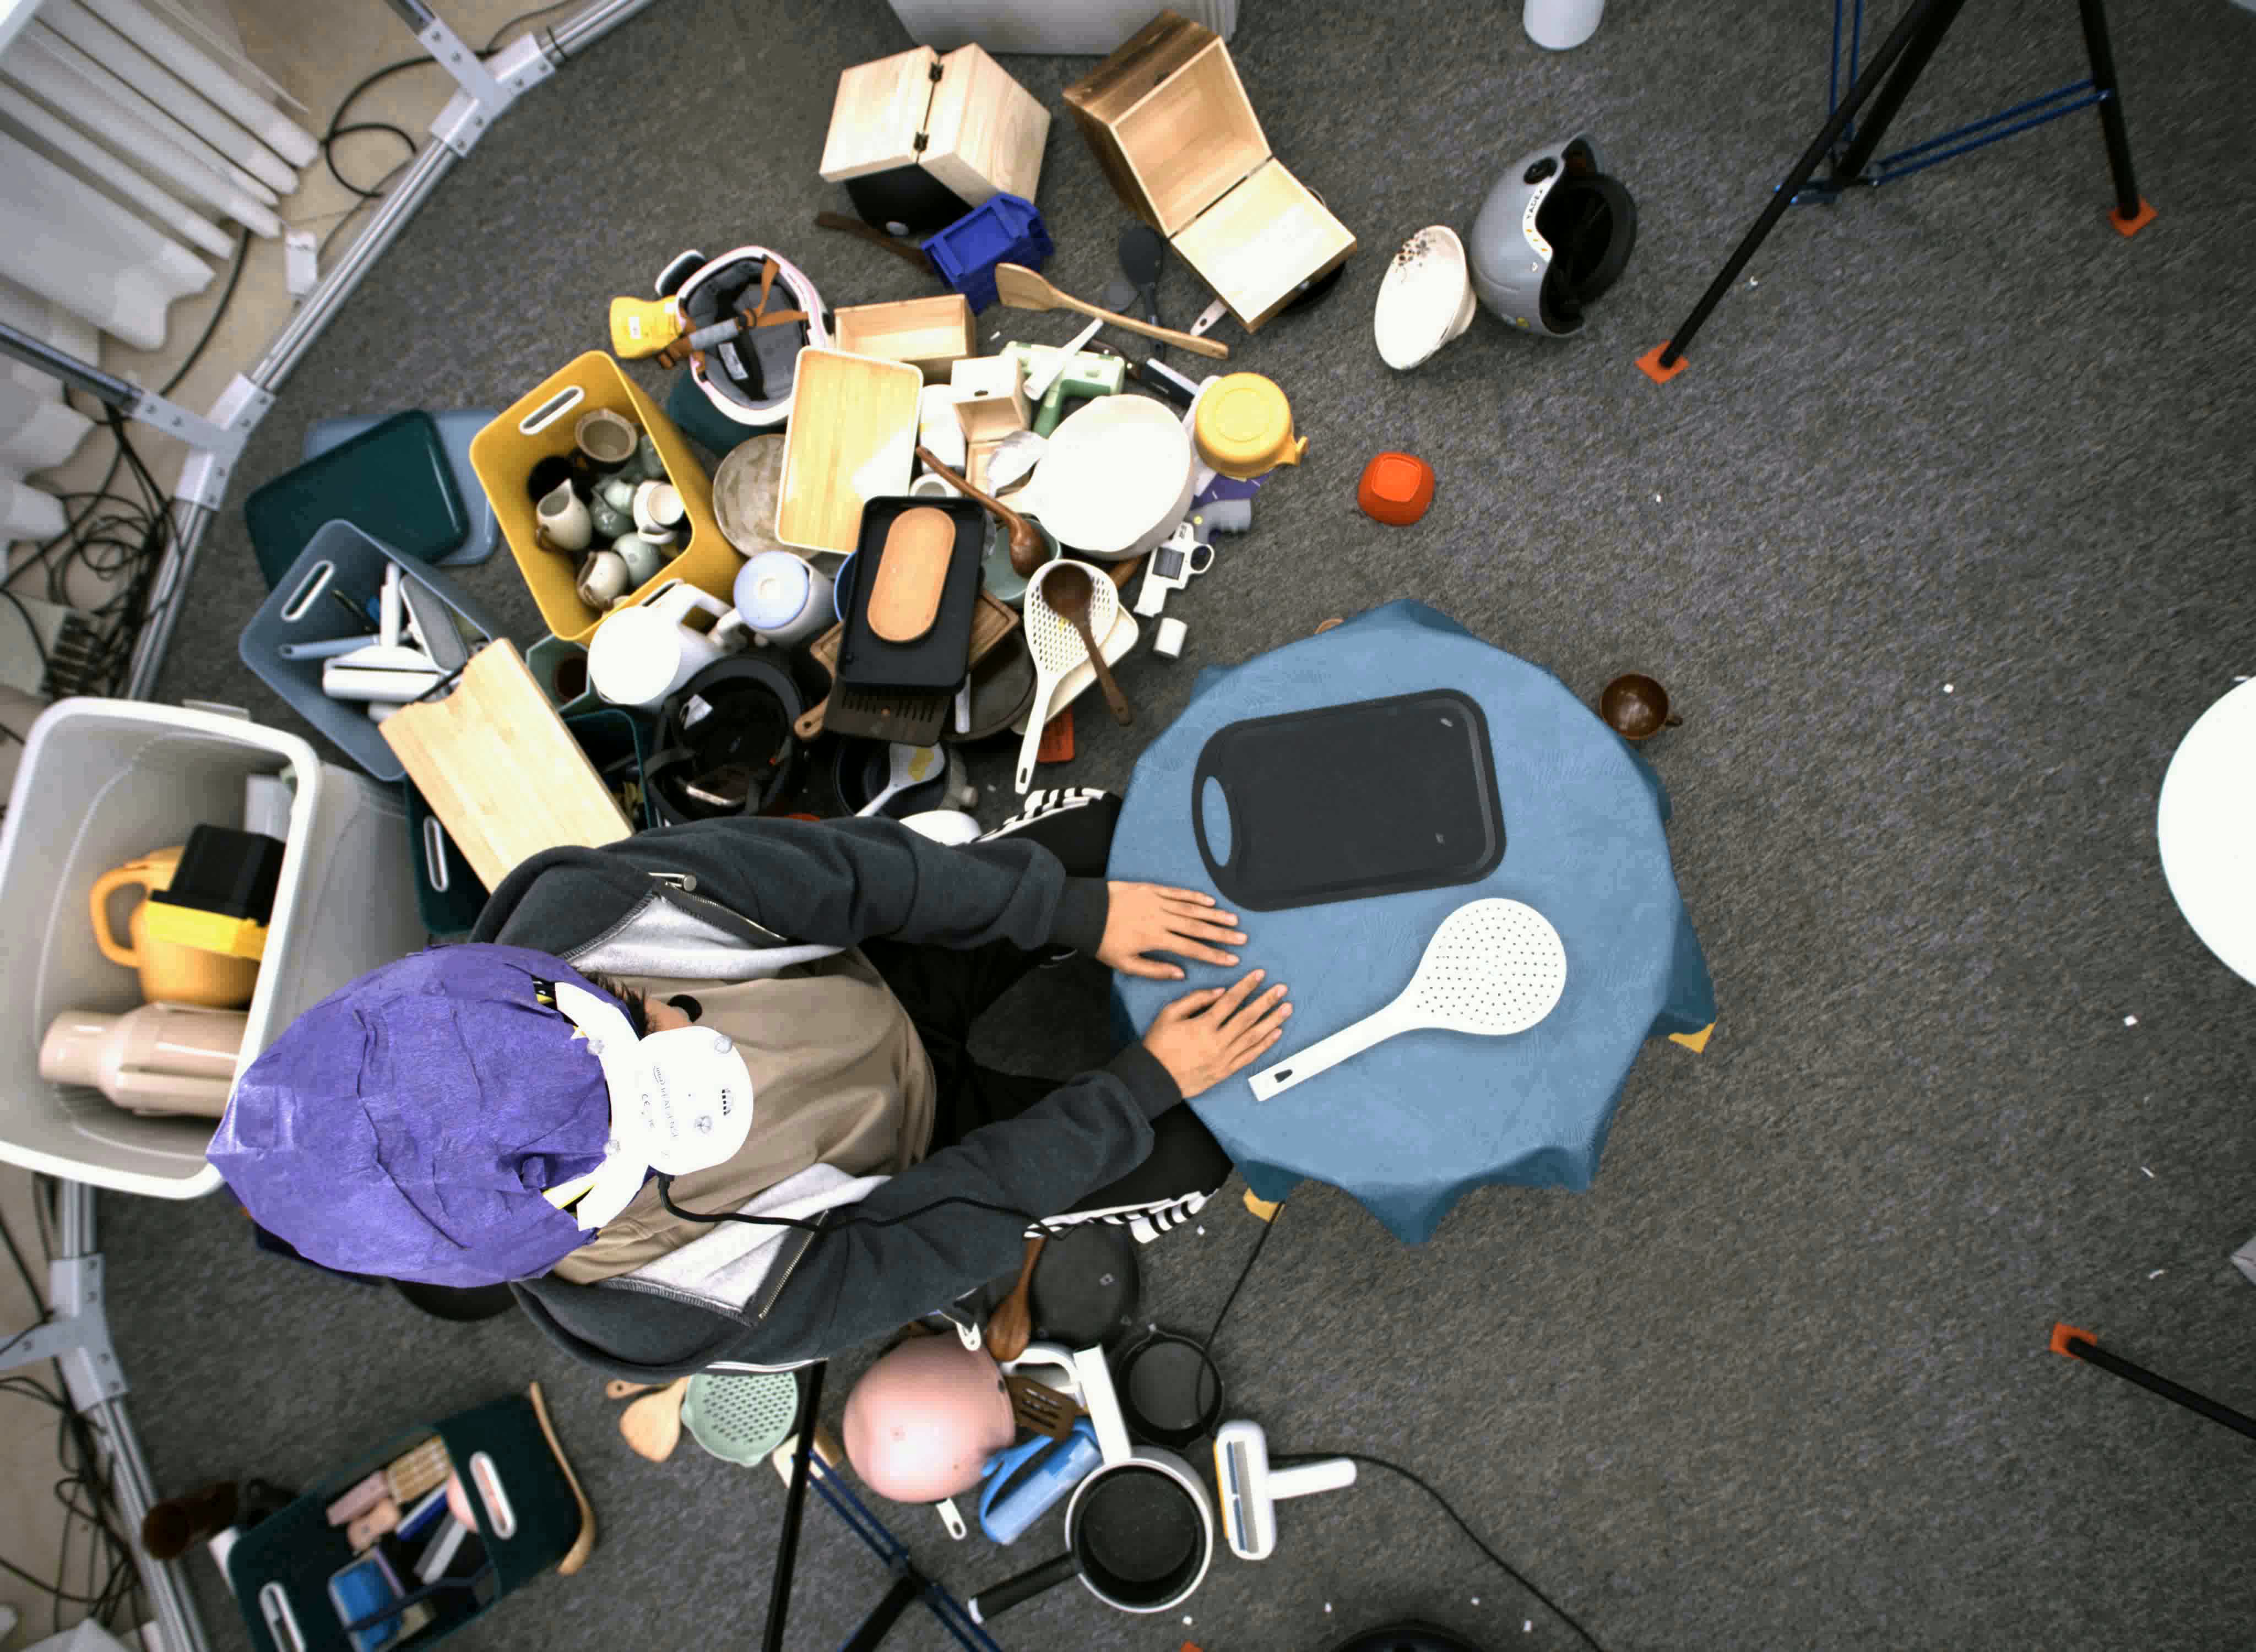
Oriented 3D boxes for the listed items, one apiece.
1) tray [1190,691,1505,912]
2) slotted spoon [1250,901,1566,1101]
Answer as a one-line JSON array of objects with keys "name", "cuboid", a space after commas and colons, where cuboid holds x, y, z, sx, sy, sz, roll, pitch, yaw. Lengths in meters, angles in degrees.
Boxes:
[{"name": "tray", "cuboid": [0.228, -0.025, 1.469, 0.327, 0.010, 0.210, -8, 85, 10]}, {"name": "slotted spoon", "cuboid": [0.283, 0.195, 1.427, 0.352, 0.046, 0.135, -29, 80, 9]}]
